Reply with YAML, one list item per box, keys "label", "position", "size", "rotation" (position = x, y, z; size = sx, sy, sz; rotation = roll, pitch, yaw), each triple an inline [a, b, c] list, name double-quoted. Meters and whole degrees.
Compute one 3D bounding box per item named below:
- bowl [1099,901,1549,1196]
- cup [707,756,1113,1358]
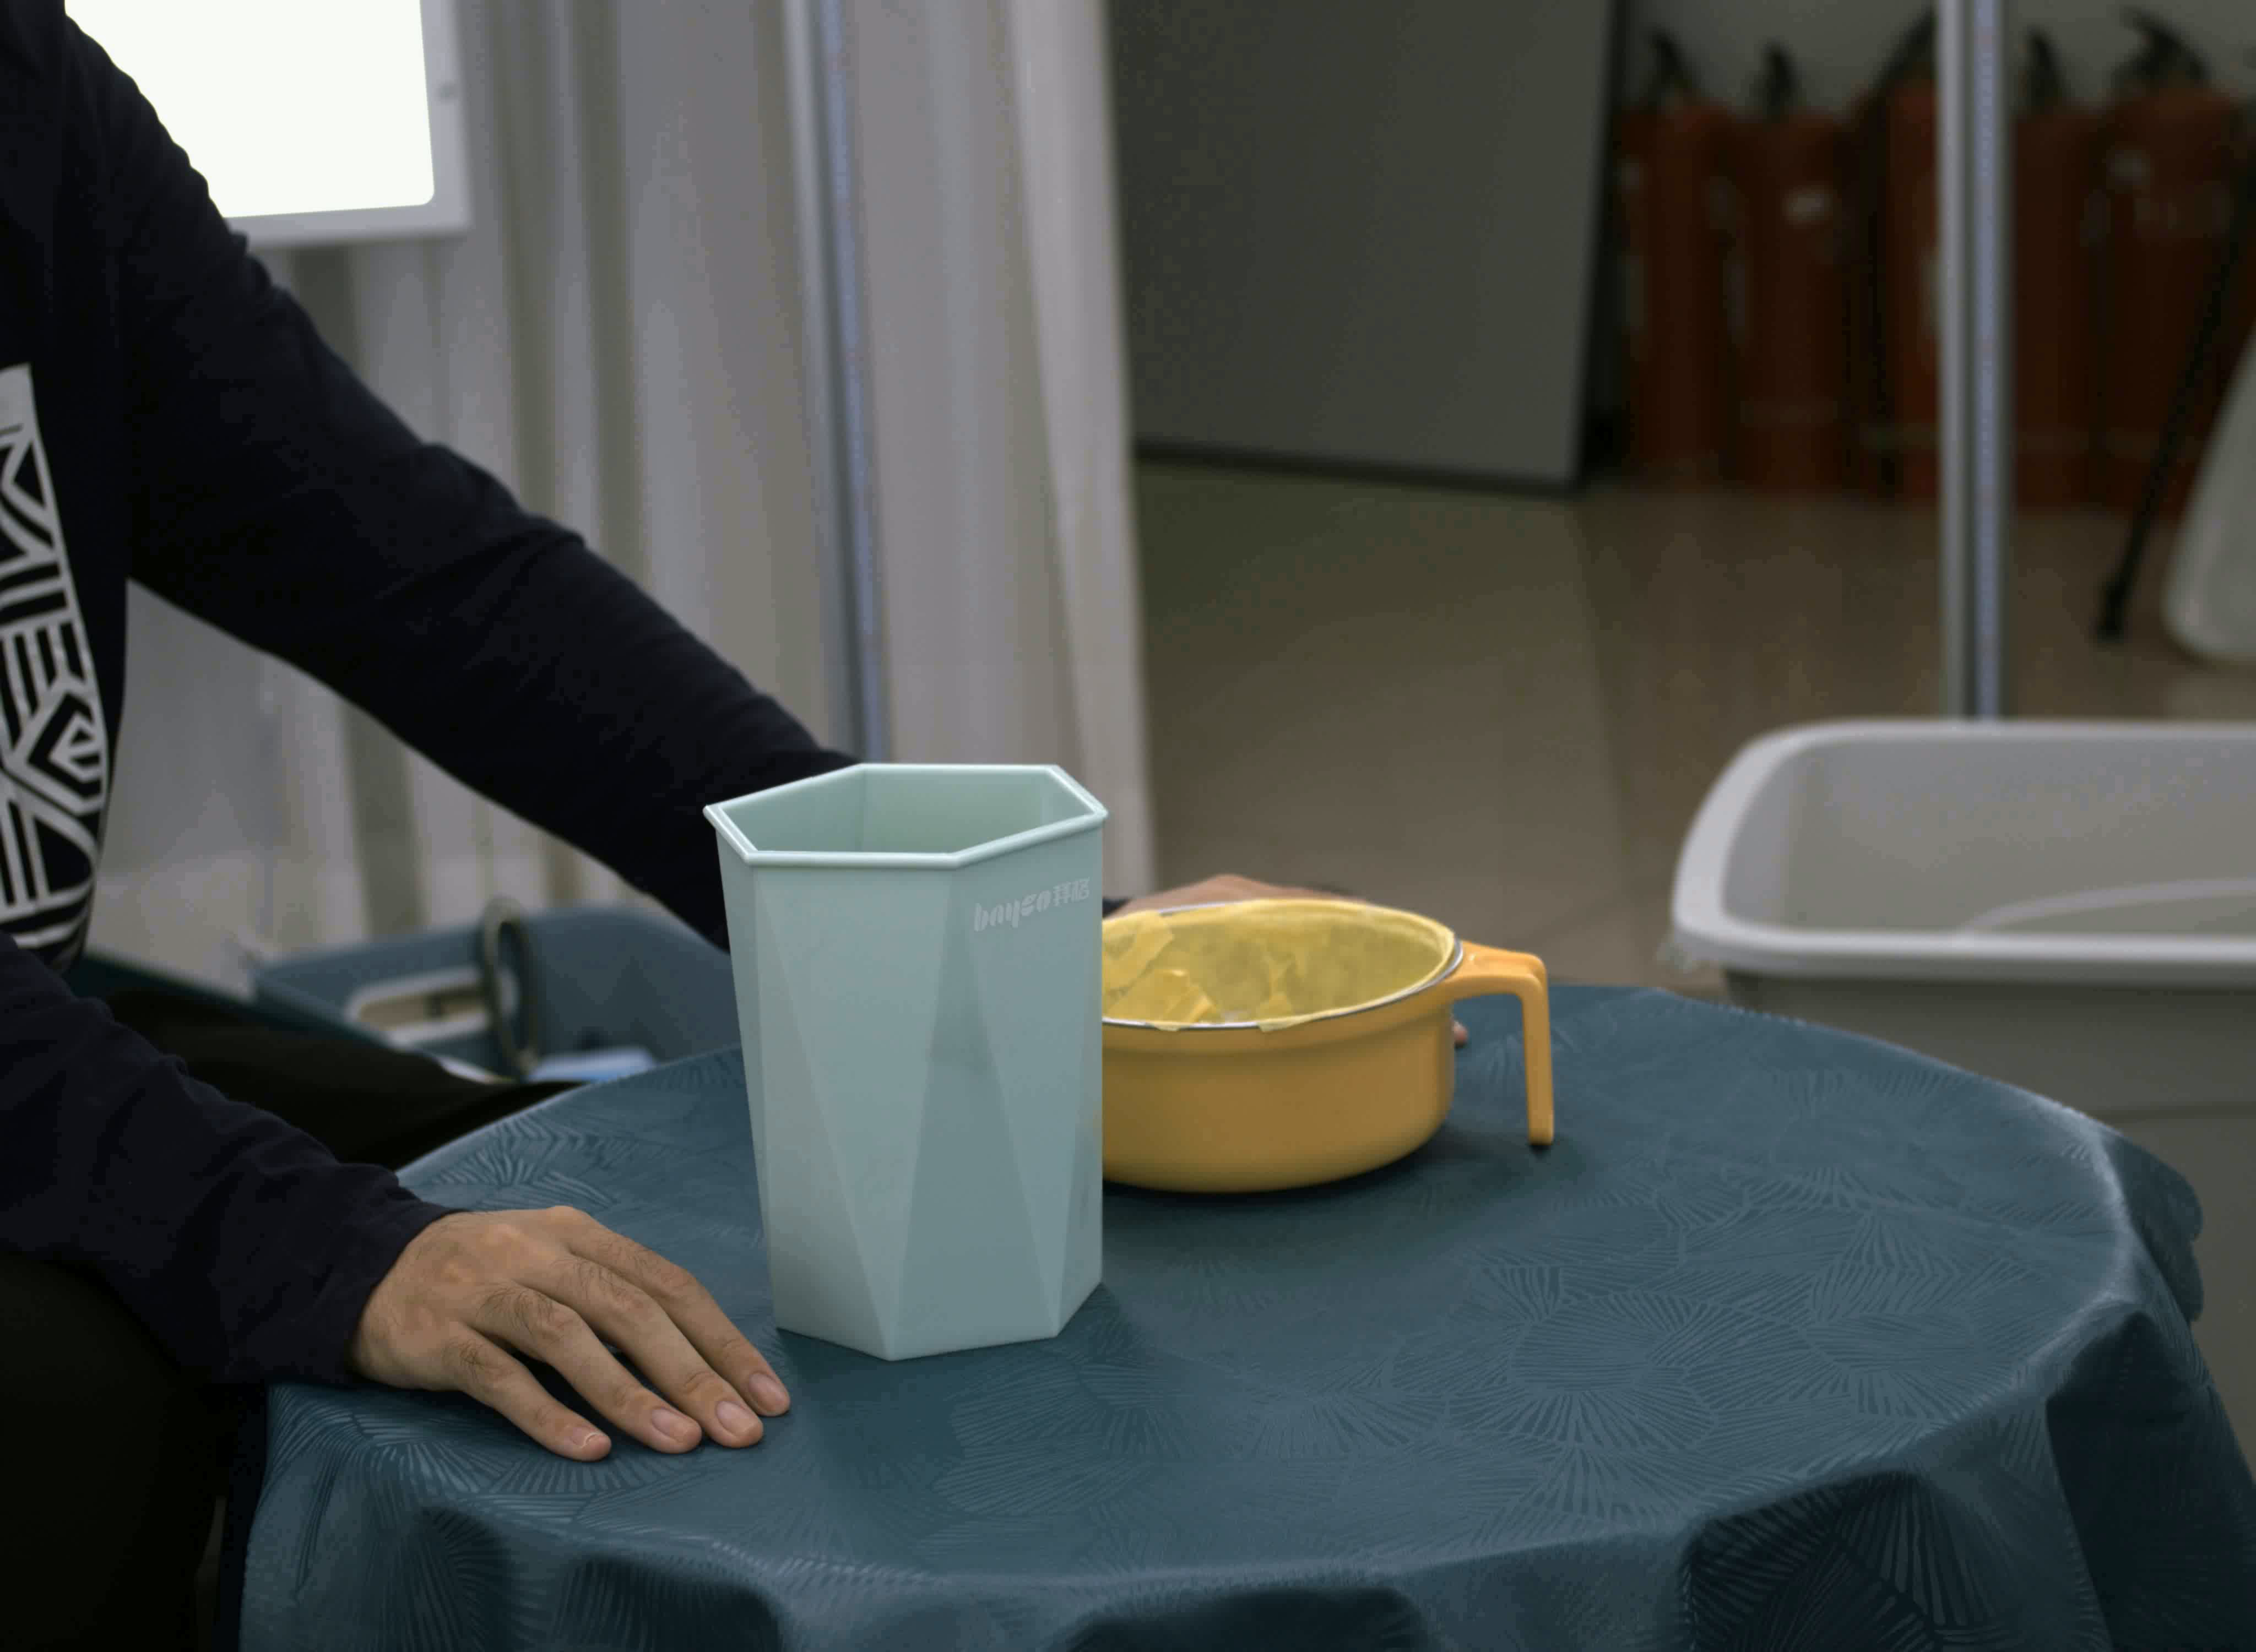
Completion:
- label: "bowl"
  position: [0.051, 0.075, 1.800]
  size: [0.177, 0.075, 0.152]
  rotation: [-4, 10, 7]
- label: "cup"
  position: [-0.061, 0.070, 1.656]
  size: [0.116, 0.165, 0.128]
  rotation: [8, 17, 44]
